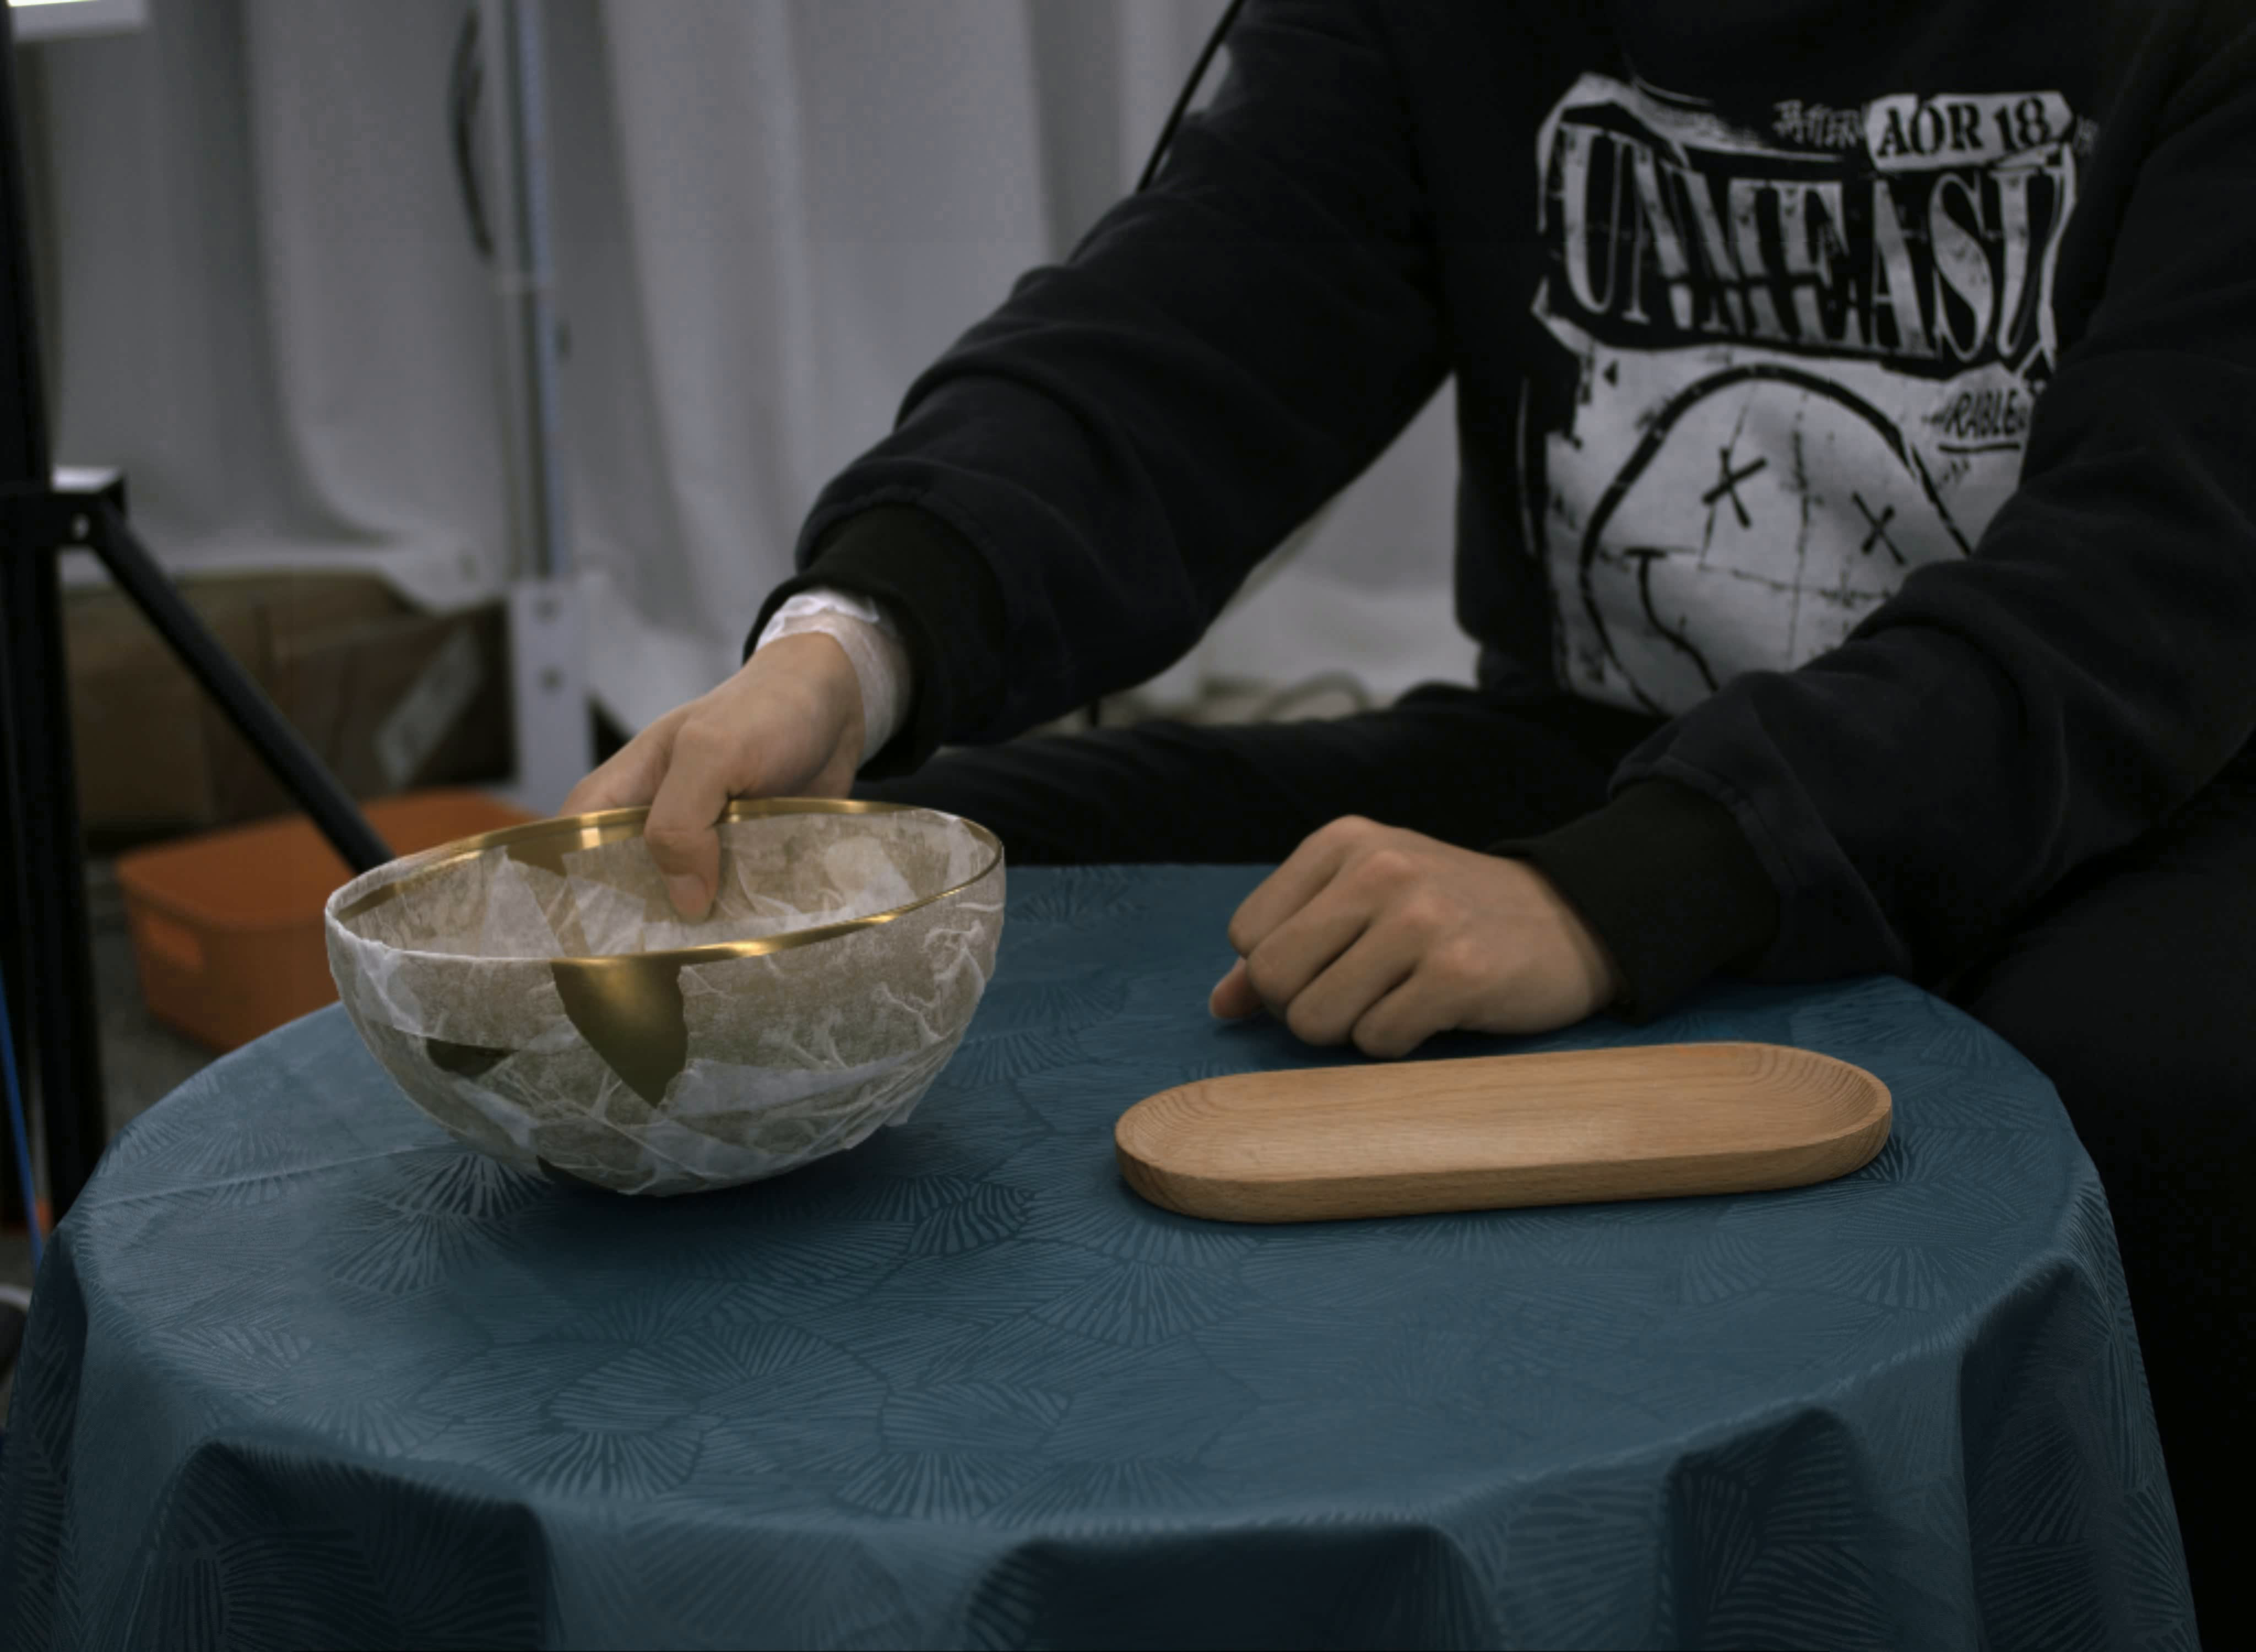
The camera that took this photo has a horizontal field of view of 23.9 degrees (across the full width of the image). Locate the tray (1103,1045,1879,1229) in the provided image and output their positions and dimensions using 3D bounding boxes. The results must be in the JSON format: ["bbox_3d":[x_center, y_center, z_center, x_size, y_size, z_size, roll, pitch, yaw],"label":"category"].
[{"bbox_3d":[0.108,0.093,1.567,0.229,0.020,0.102,-5,14,-3],"label":"tray"}]

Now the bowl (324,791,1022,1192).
[{"bbox_3d":[-0.129,0.056,1.586,0.213,0.094,0.215,-5,11,0],"label":"bowl"}]
